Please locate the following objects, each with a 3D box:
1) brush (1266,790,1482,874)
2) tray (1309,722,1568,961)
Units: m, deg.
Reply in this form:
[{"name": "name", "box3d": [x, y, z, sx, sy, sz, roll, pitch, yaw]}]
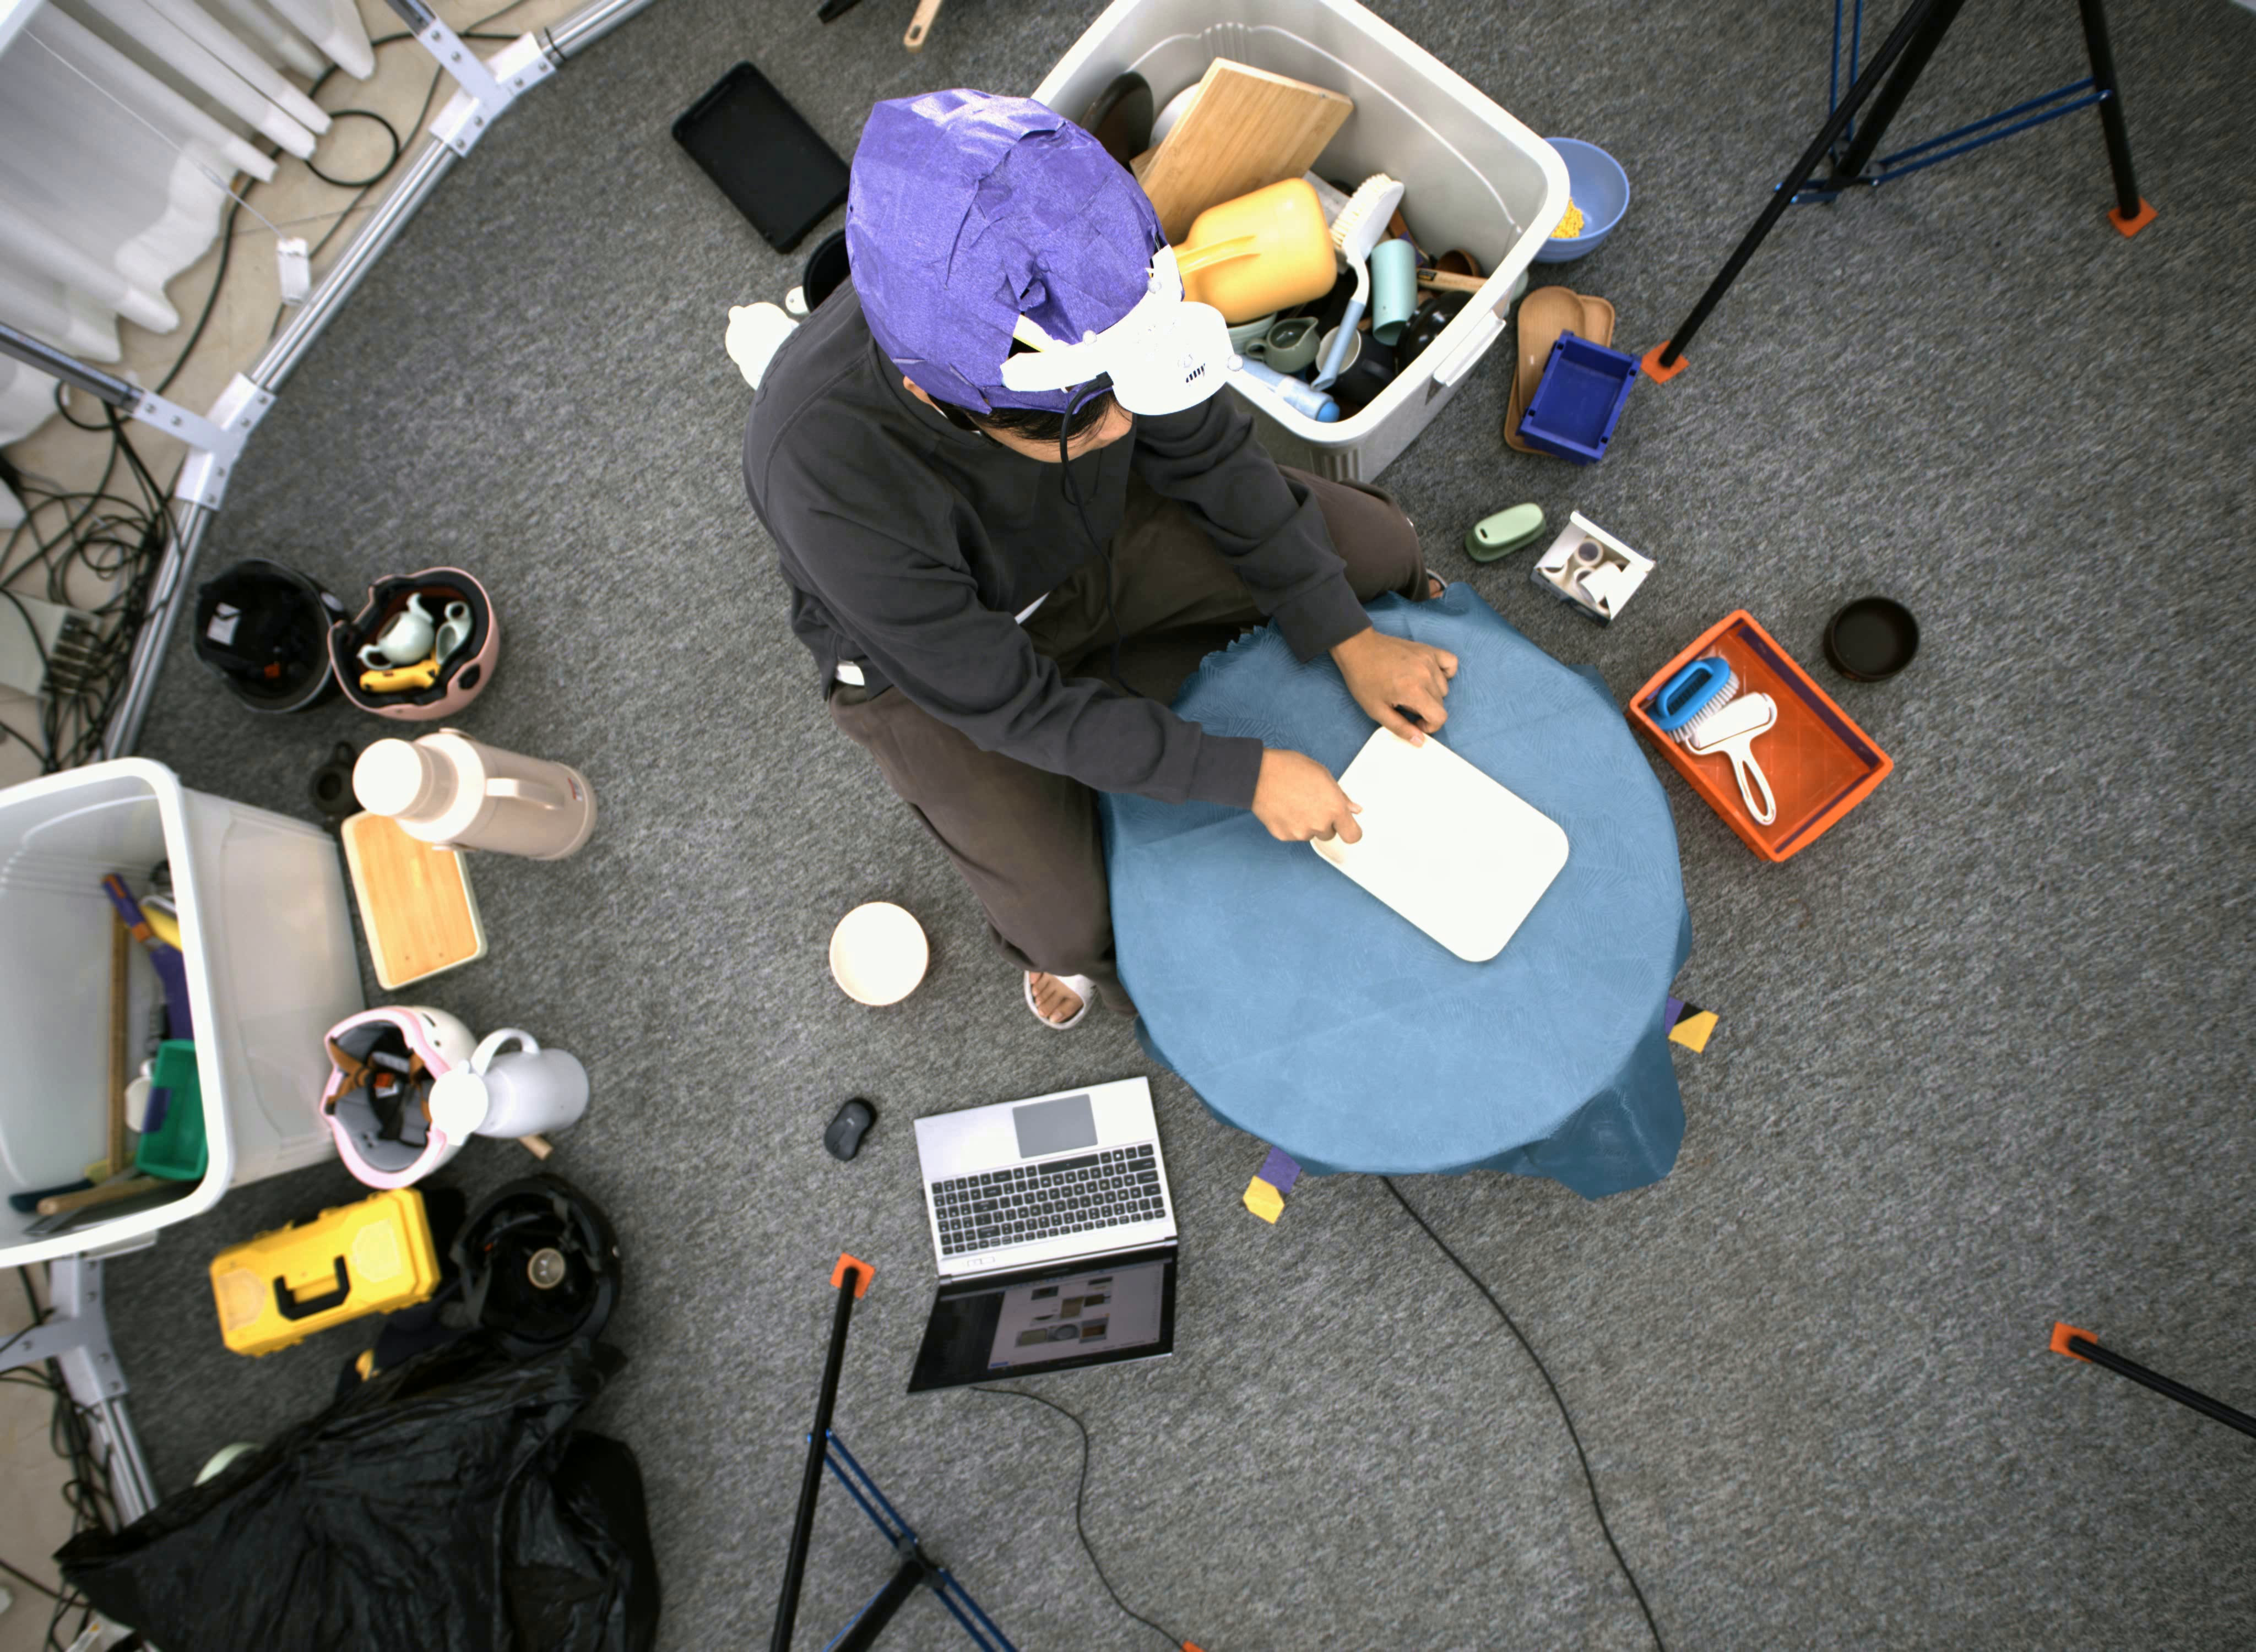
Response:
[{"name": "brush", "box3d": [0.253, 0.004, 1.430, 0.229, 0.050, 0.037, 15, 88, -1]}, {"name": "tray", "box3d": [0.324, 0.013, 1.445, 0.239, 0.017, 0.171, 37, 93, 11]}]
